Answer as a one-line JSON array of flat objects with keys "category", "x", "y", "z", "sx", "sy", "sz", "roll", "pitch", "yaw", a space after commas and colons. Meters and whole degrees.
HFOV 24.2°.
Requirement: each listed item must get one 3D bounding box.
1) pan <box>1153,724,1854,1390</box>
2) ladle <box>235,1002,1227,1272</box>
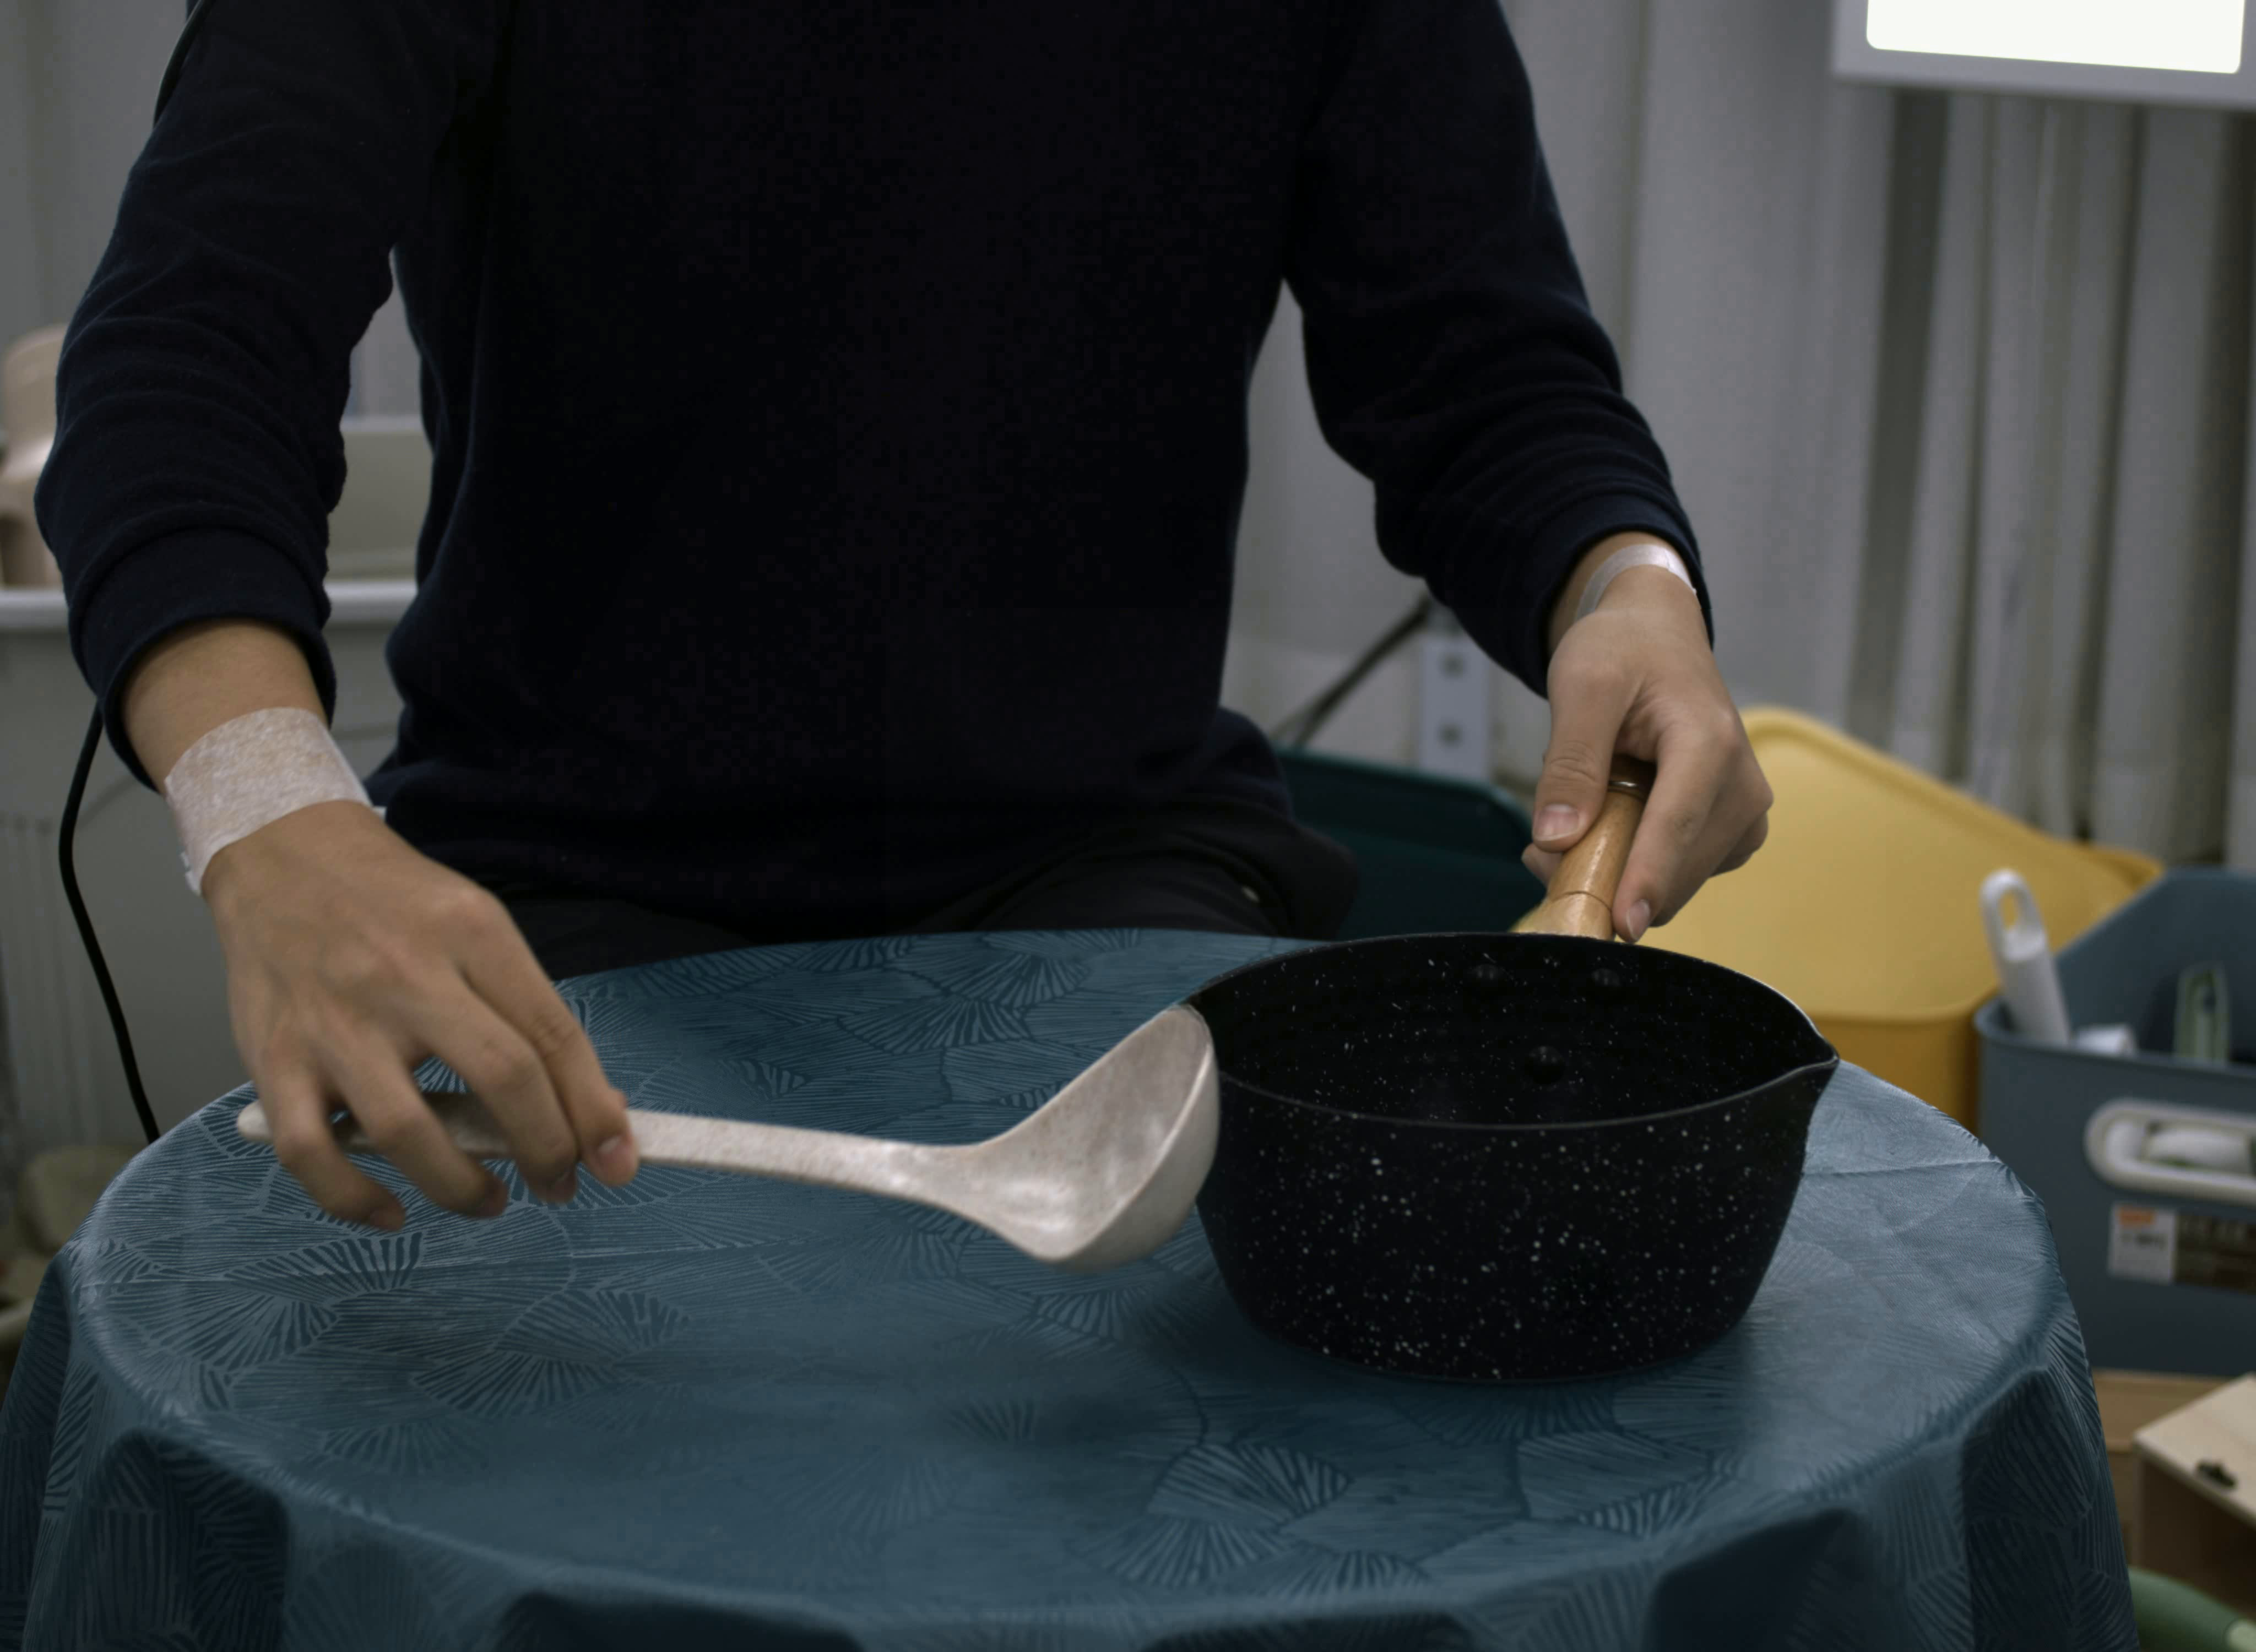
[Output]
[{"category": "pan", "x": 0.124, "y": 0.064, "z": 1.596, "sx": 0.206, "sy": 0.109, "sz": 0.342, "roll": 3, "pitch": 17, "yaw": 13}, {"category": "ladle", "x": -0.110, "y": 0.071, "z": 1.438, "sx": 0.274, "sy": 0.070, "sz": 0.088, "roll": 7, "pitch": 42, "yaw": 1}]
